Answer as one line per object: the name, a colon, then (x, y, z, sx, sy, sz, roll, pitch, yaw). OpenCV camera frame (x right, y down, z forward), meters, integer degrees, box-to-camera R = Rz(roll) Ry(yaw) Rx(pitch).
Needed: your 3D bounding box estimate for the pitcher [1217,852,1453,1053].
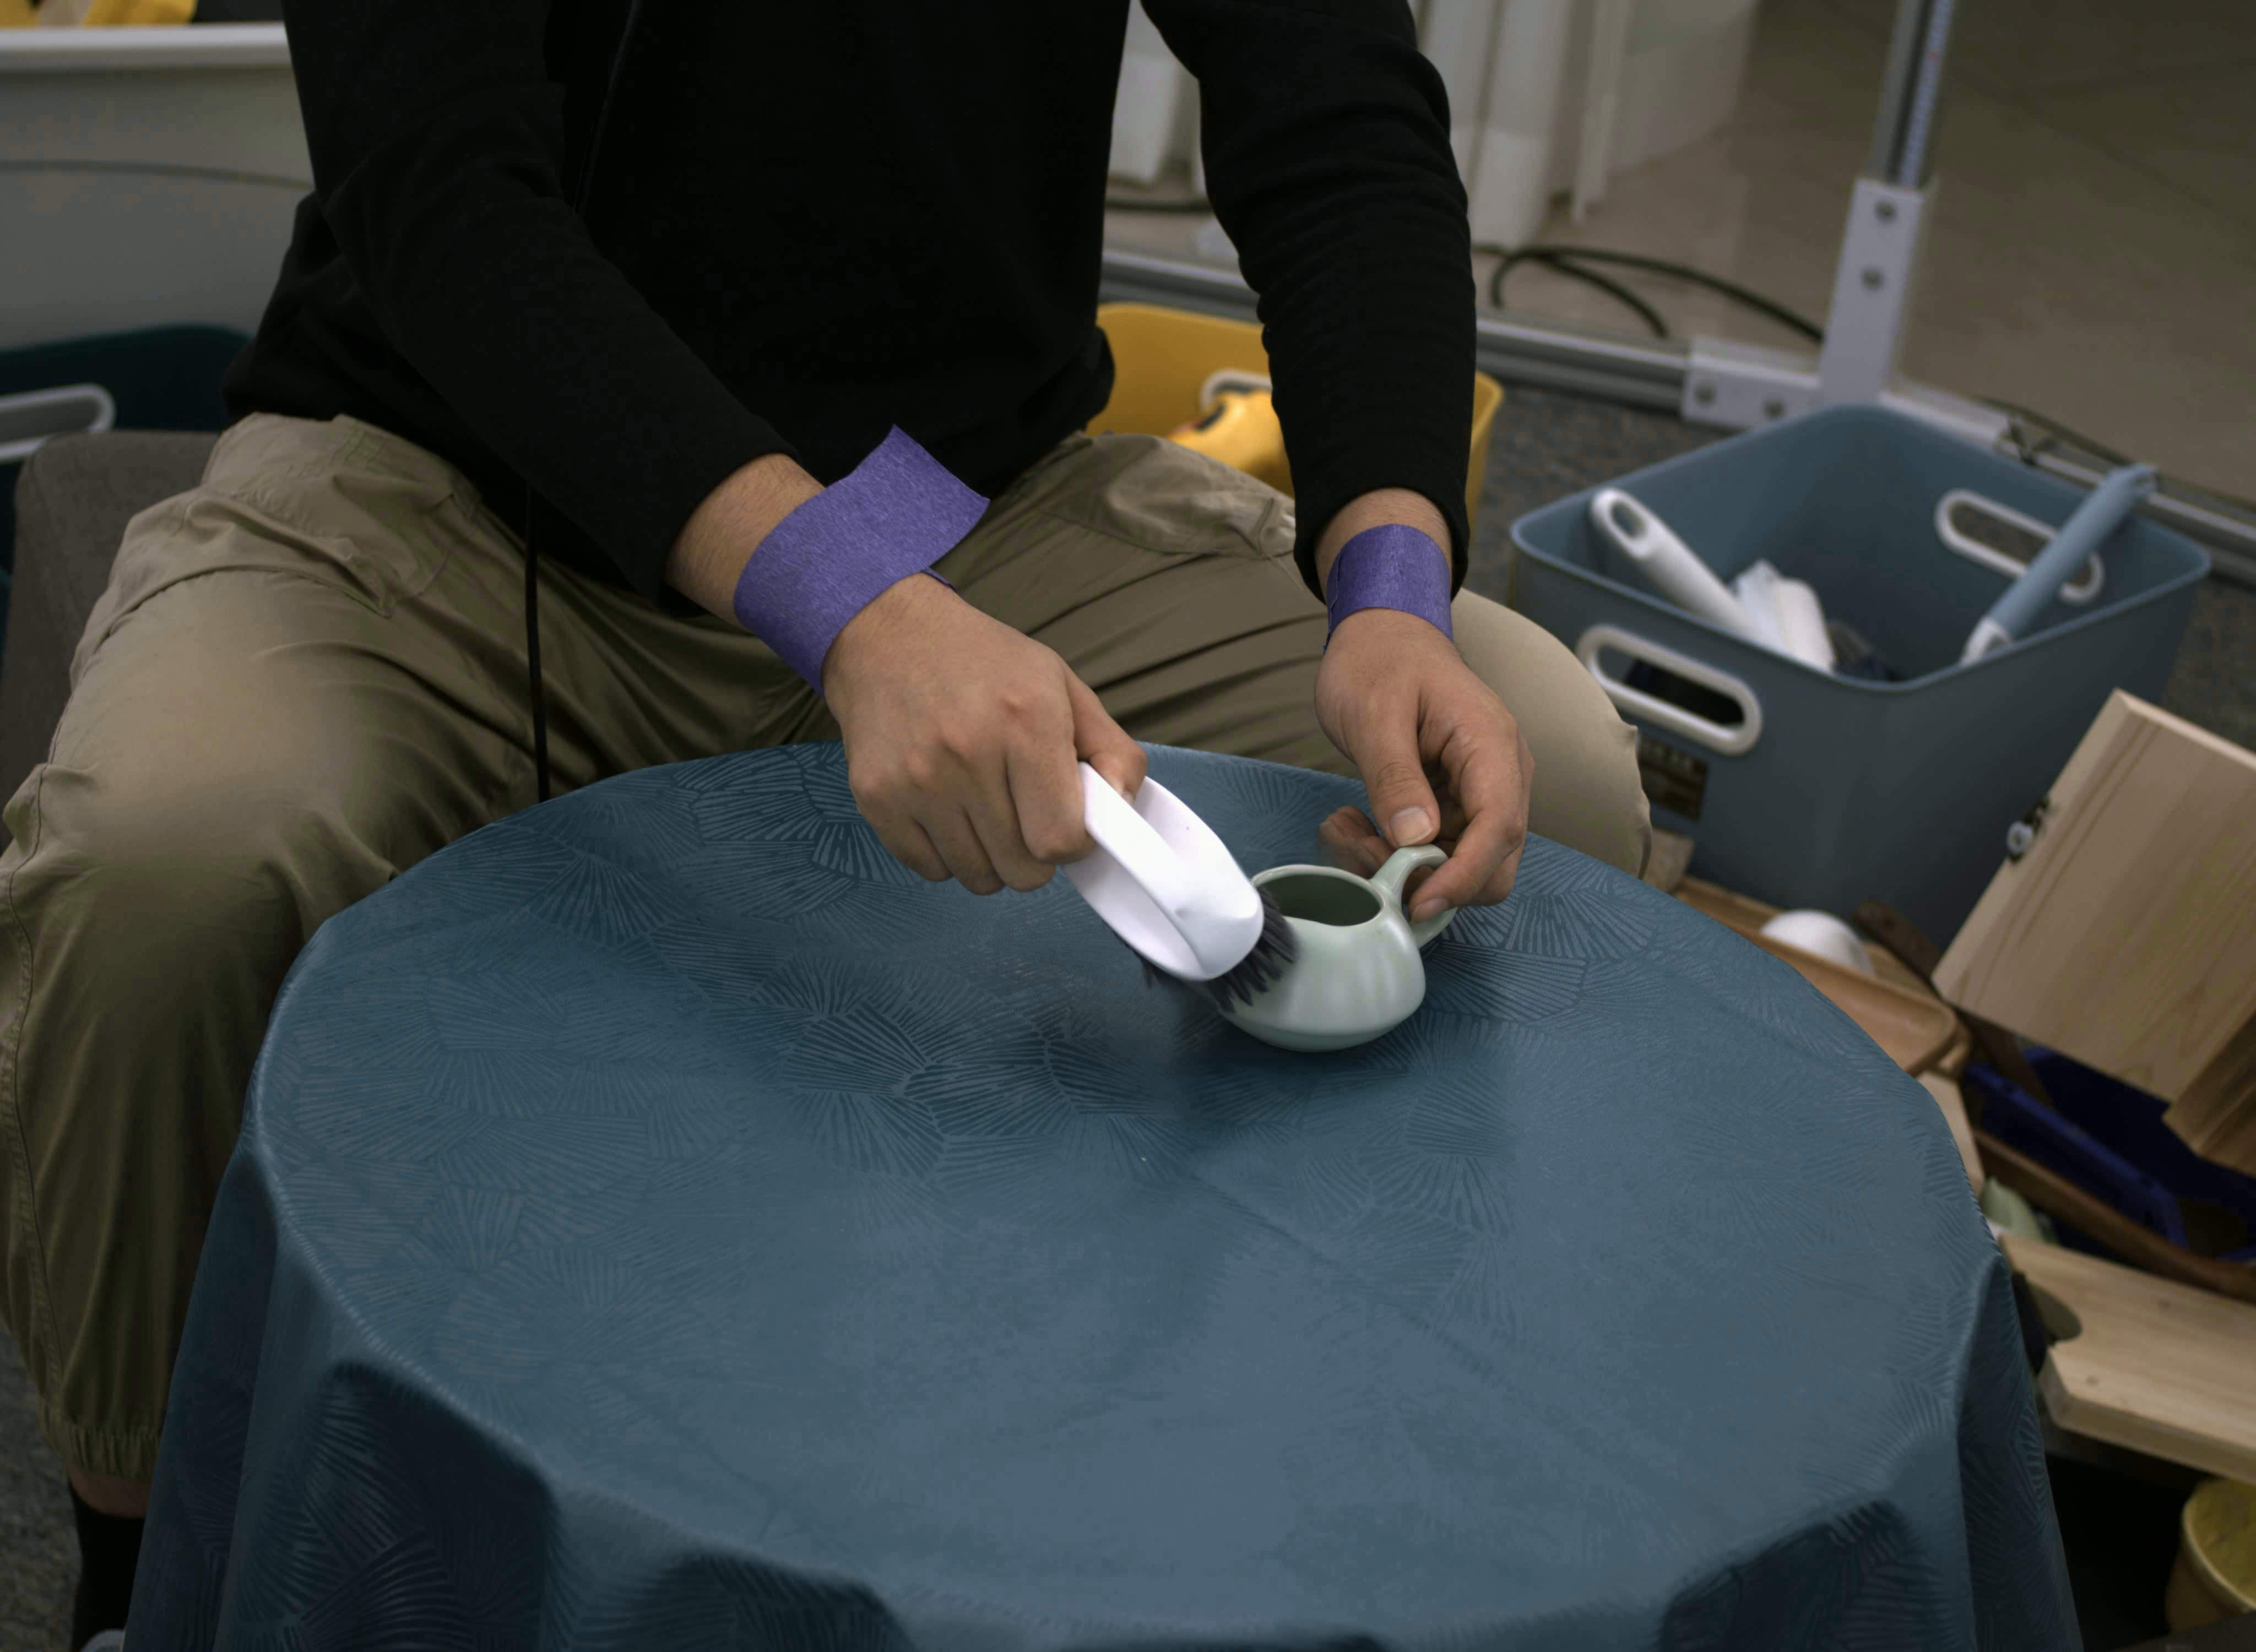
pitcher: (0.073, 0.043, 1.916, 0.107, 0.060, 0.087, -11, 33, -39)

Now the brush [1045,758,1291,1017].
brush: (0.007, 0.015, 1.858, 0.050, 0.072, 0.100, -41, 55, -1)
